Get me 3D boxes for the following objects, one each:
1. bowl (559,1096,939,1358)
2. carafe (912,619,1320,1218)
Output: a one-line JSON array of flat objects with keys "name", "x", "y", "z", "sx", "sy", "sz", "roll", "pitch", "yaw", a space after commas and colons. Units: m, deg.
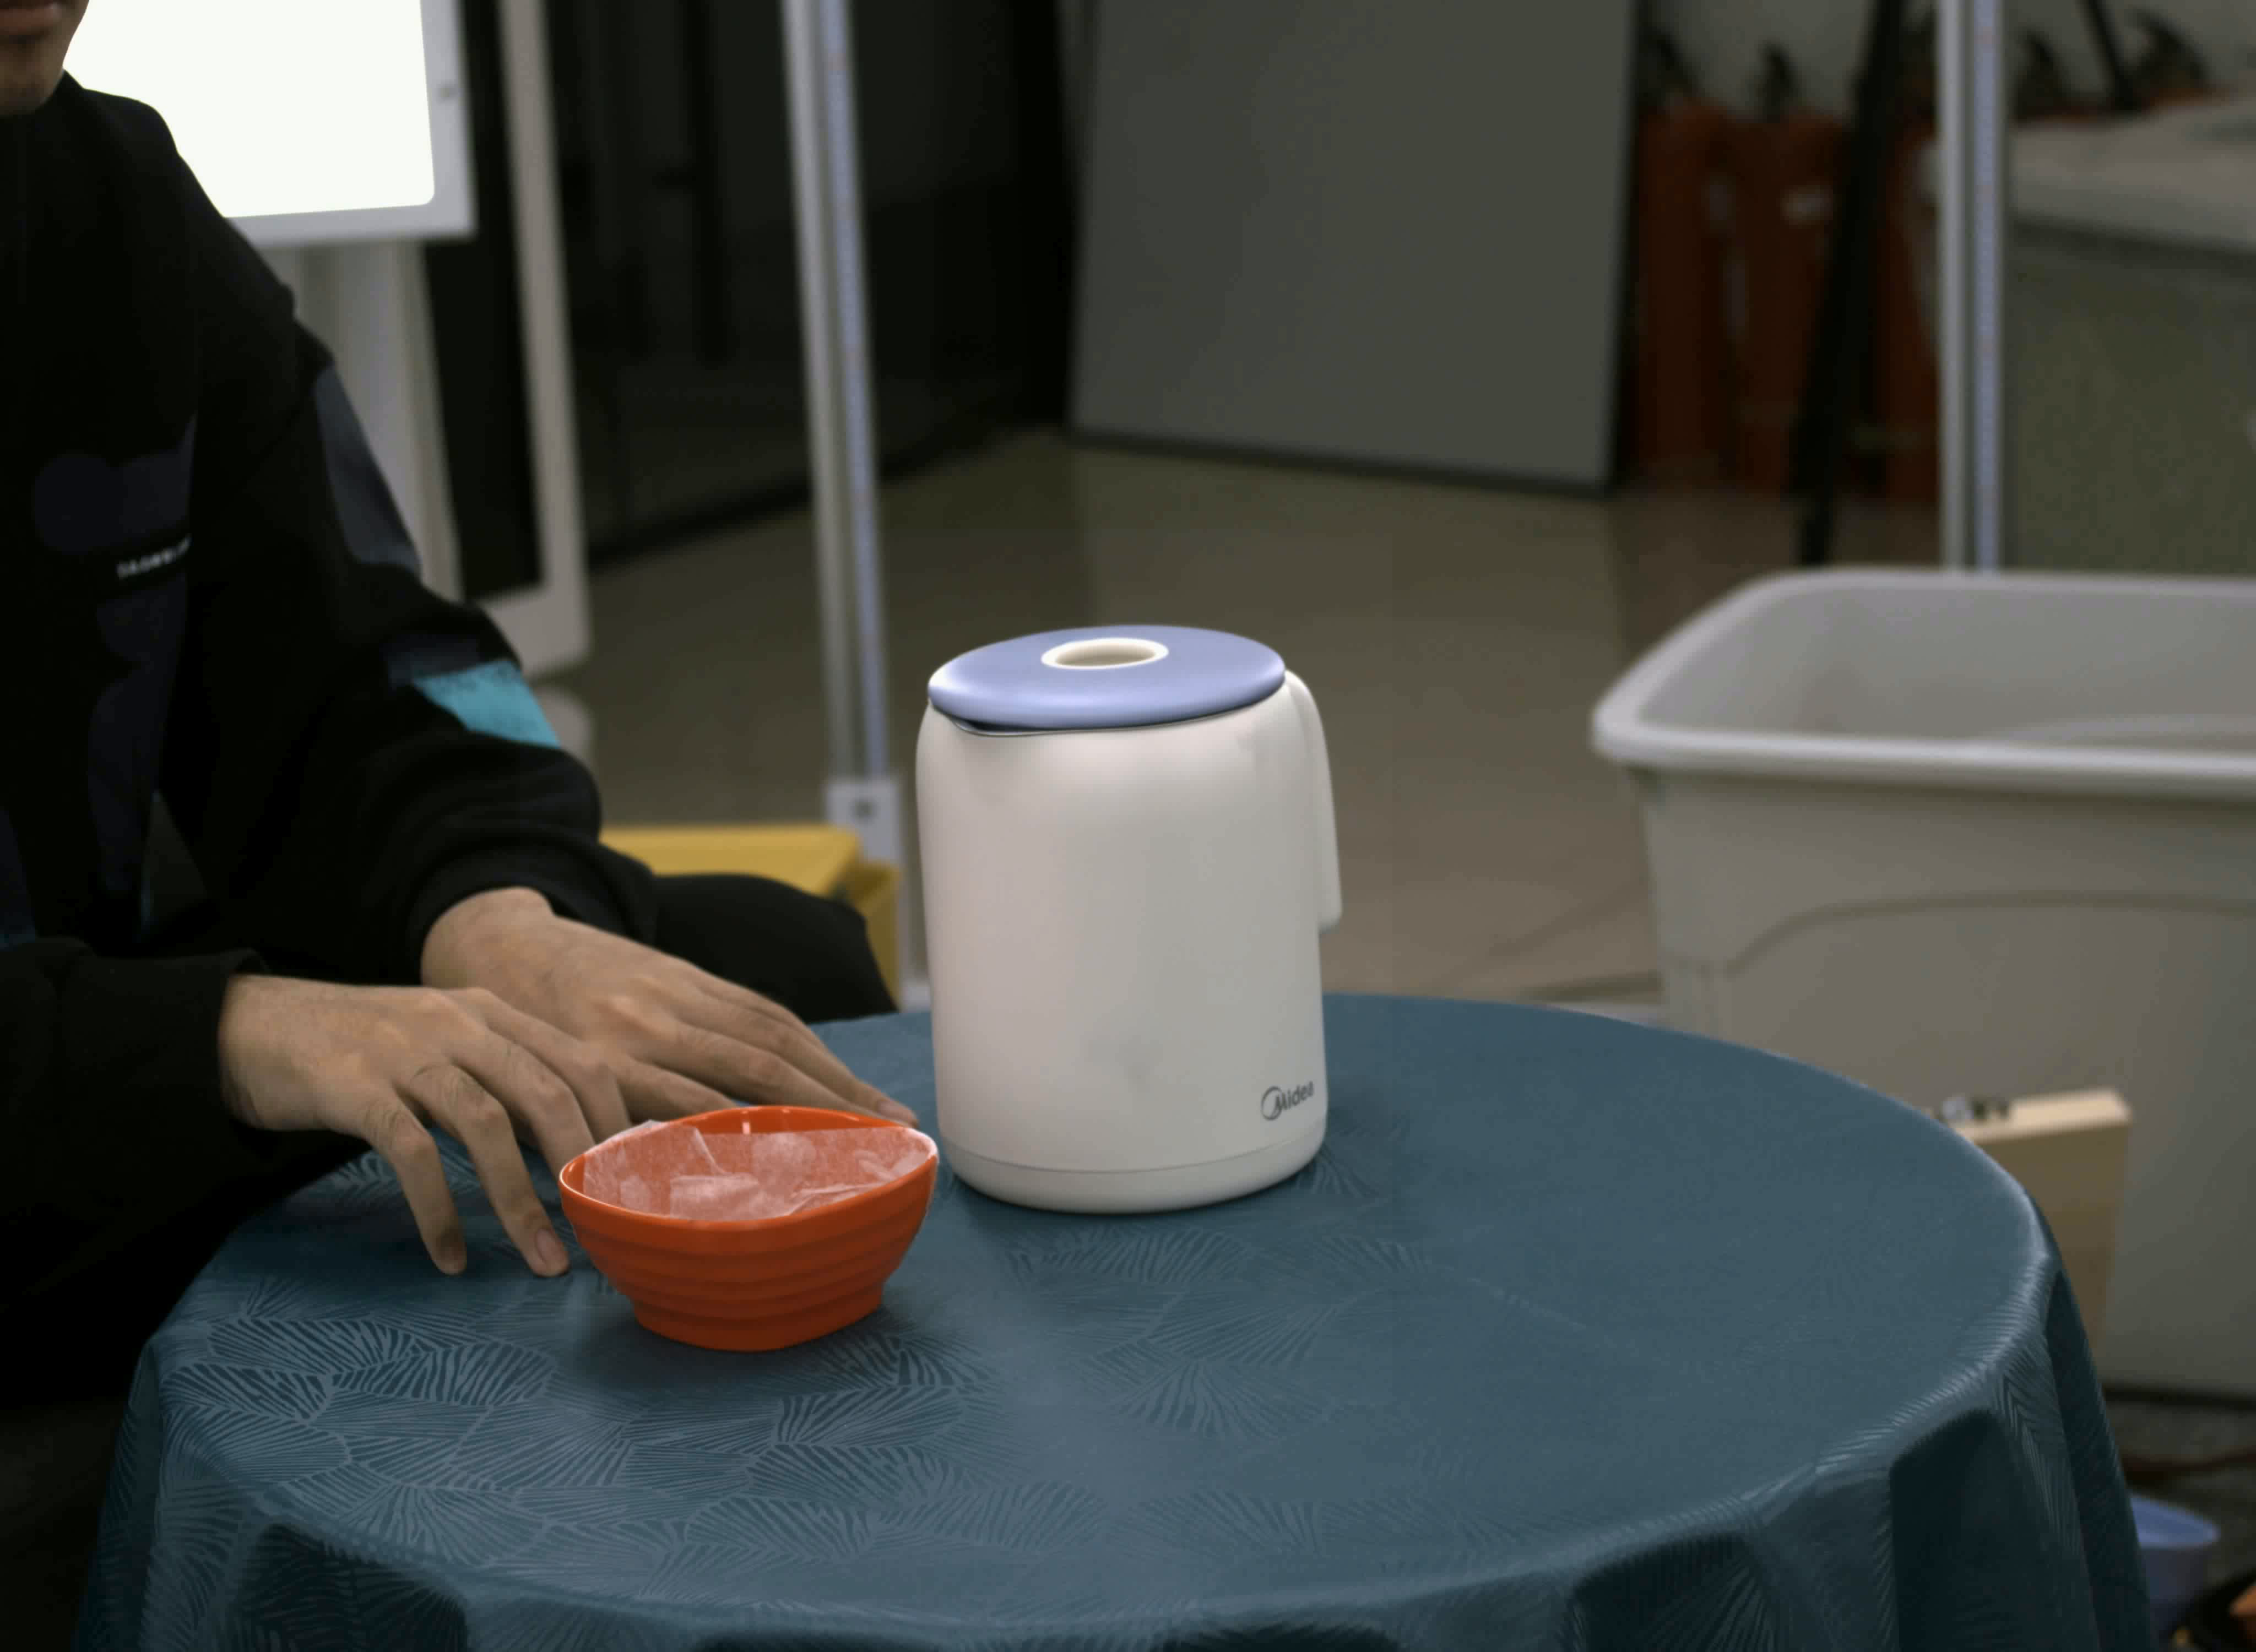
[{"name": "bowl", "x": -0.115, "y": 0.126, "z": 1.672, "sx": 0.117, "sy": 0.052, "sz": 0.119, "roll": -4, "pitch": 17, "yaw": 0}, {"name": "carafe", "x": 0.010, "y": 0.025, "z": 1.802, "sx": 0.133, "sy": 0.184, "sz": 0.187, "roll": 7, "pitch": 15, "yaw": 35}]
